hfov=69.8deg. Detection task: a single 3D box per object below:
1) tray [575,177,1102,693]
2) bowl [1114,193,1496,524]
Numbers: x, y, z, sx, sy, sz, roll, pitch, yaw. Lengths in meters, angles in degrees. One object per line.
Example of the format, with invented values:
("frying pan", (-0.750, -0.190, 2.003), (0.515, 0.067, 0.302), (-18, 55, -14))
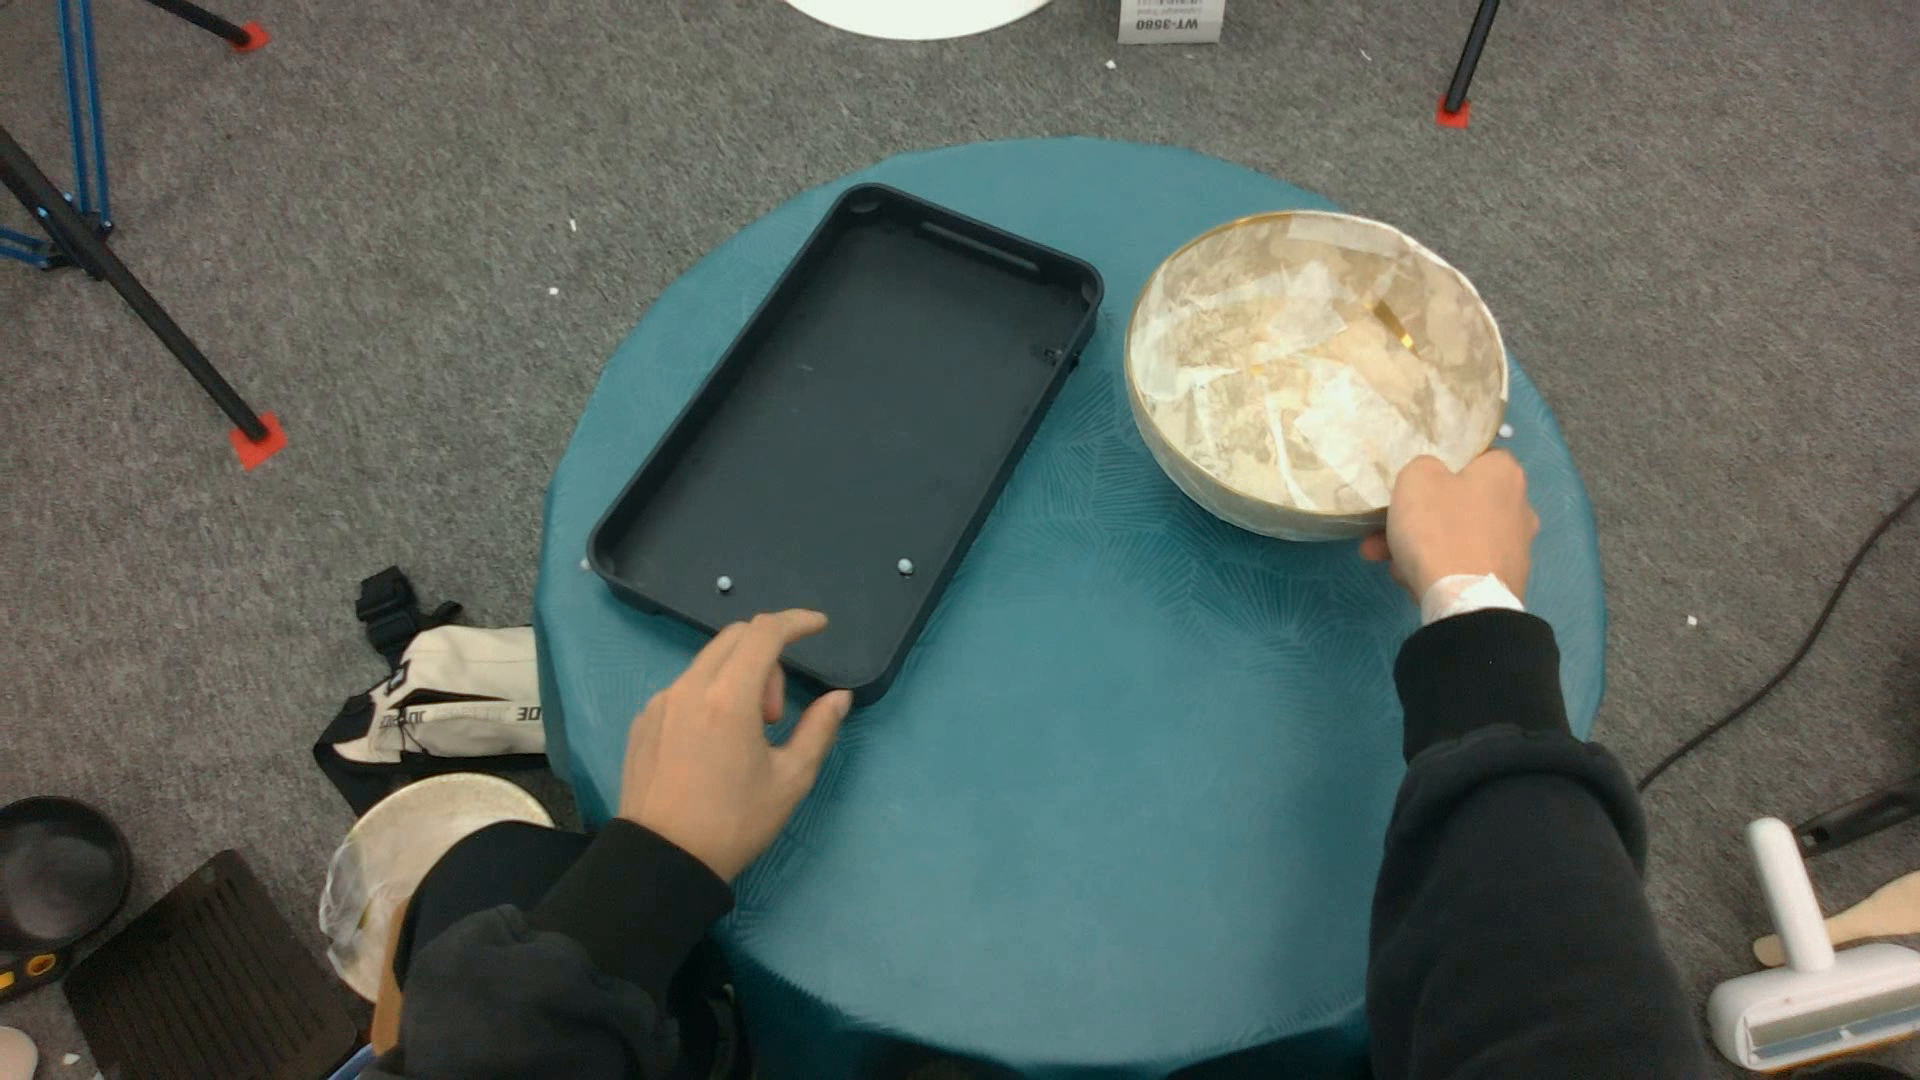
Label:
("tray", (-0.061, -0.075, 0.802), (0.184, 0.037, 0.319), (24, 62, 15))
("bowl", (0.181, -0.088, 0.775), (0.215, 0.094, 0.215), (1, 62, -1))
